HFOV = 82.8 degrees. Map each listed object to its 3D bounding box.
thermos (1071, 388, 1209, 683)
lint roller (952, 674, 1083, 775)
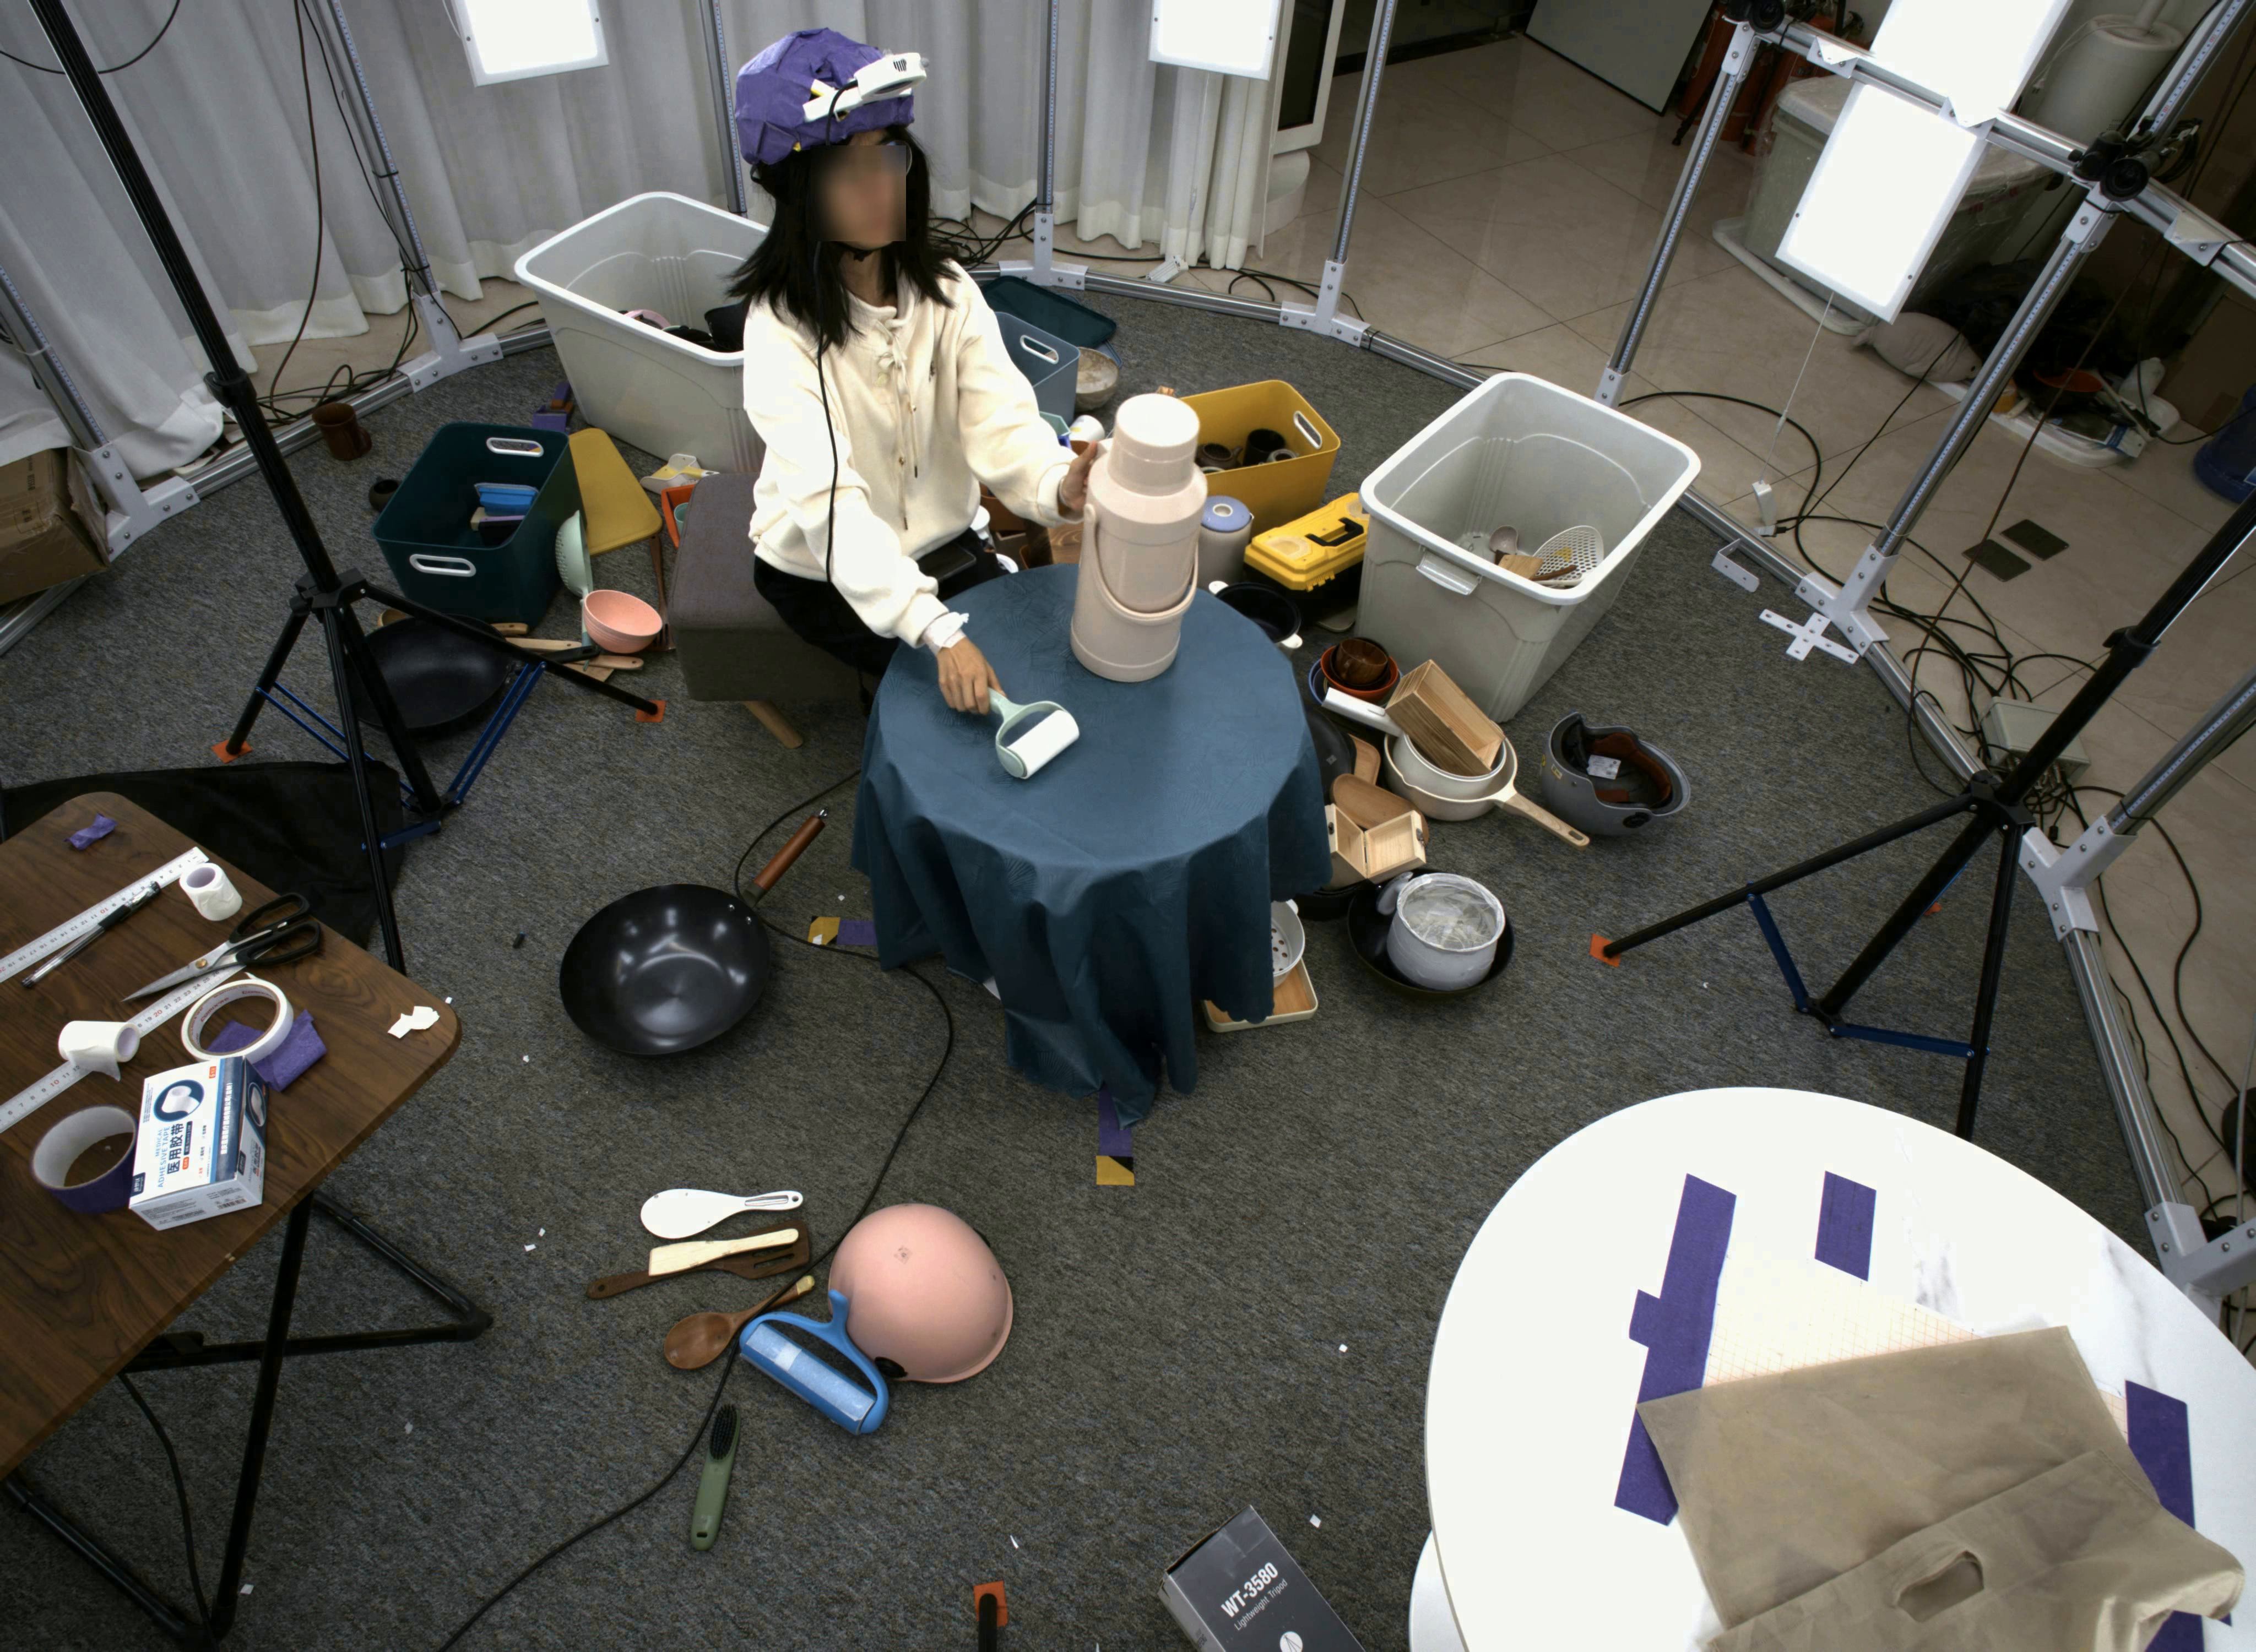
[{"bbox_3d":[0.011,-0.397,1.752,0.176,0.397,0.211,-22,58,-22],"label":"thermos"},{"bbox_3d":[-0.165,-0.160,1.758,0.200,0.047,0.118,39,60,19],"label":"lint roller"}]
